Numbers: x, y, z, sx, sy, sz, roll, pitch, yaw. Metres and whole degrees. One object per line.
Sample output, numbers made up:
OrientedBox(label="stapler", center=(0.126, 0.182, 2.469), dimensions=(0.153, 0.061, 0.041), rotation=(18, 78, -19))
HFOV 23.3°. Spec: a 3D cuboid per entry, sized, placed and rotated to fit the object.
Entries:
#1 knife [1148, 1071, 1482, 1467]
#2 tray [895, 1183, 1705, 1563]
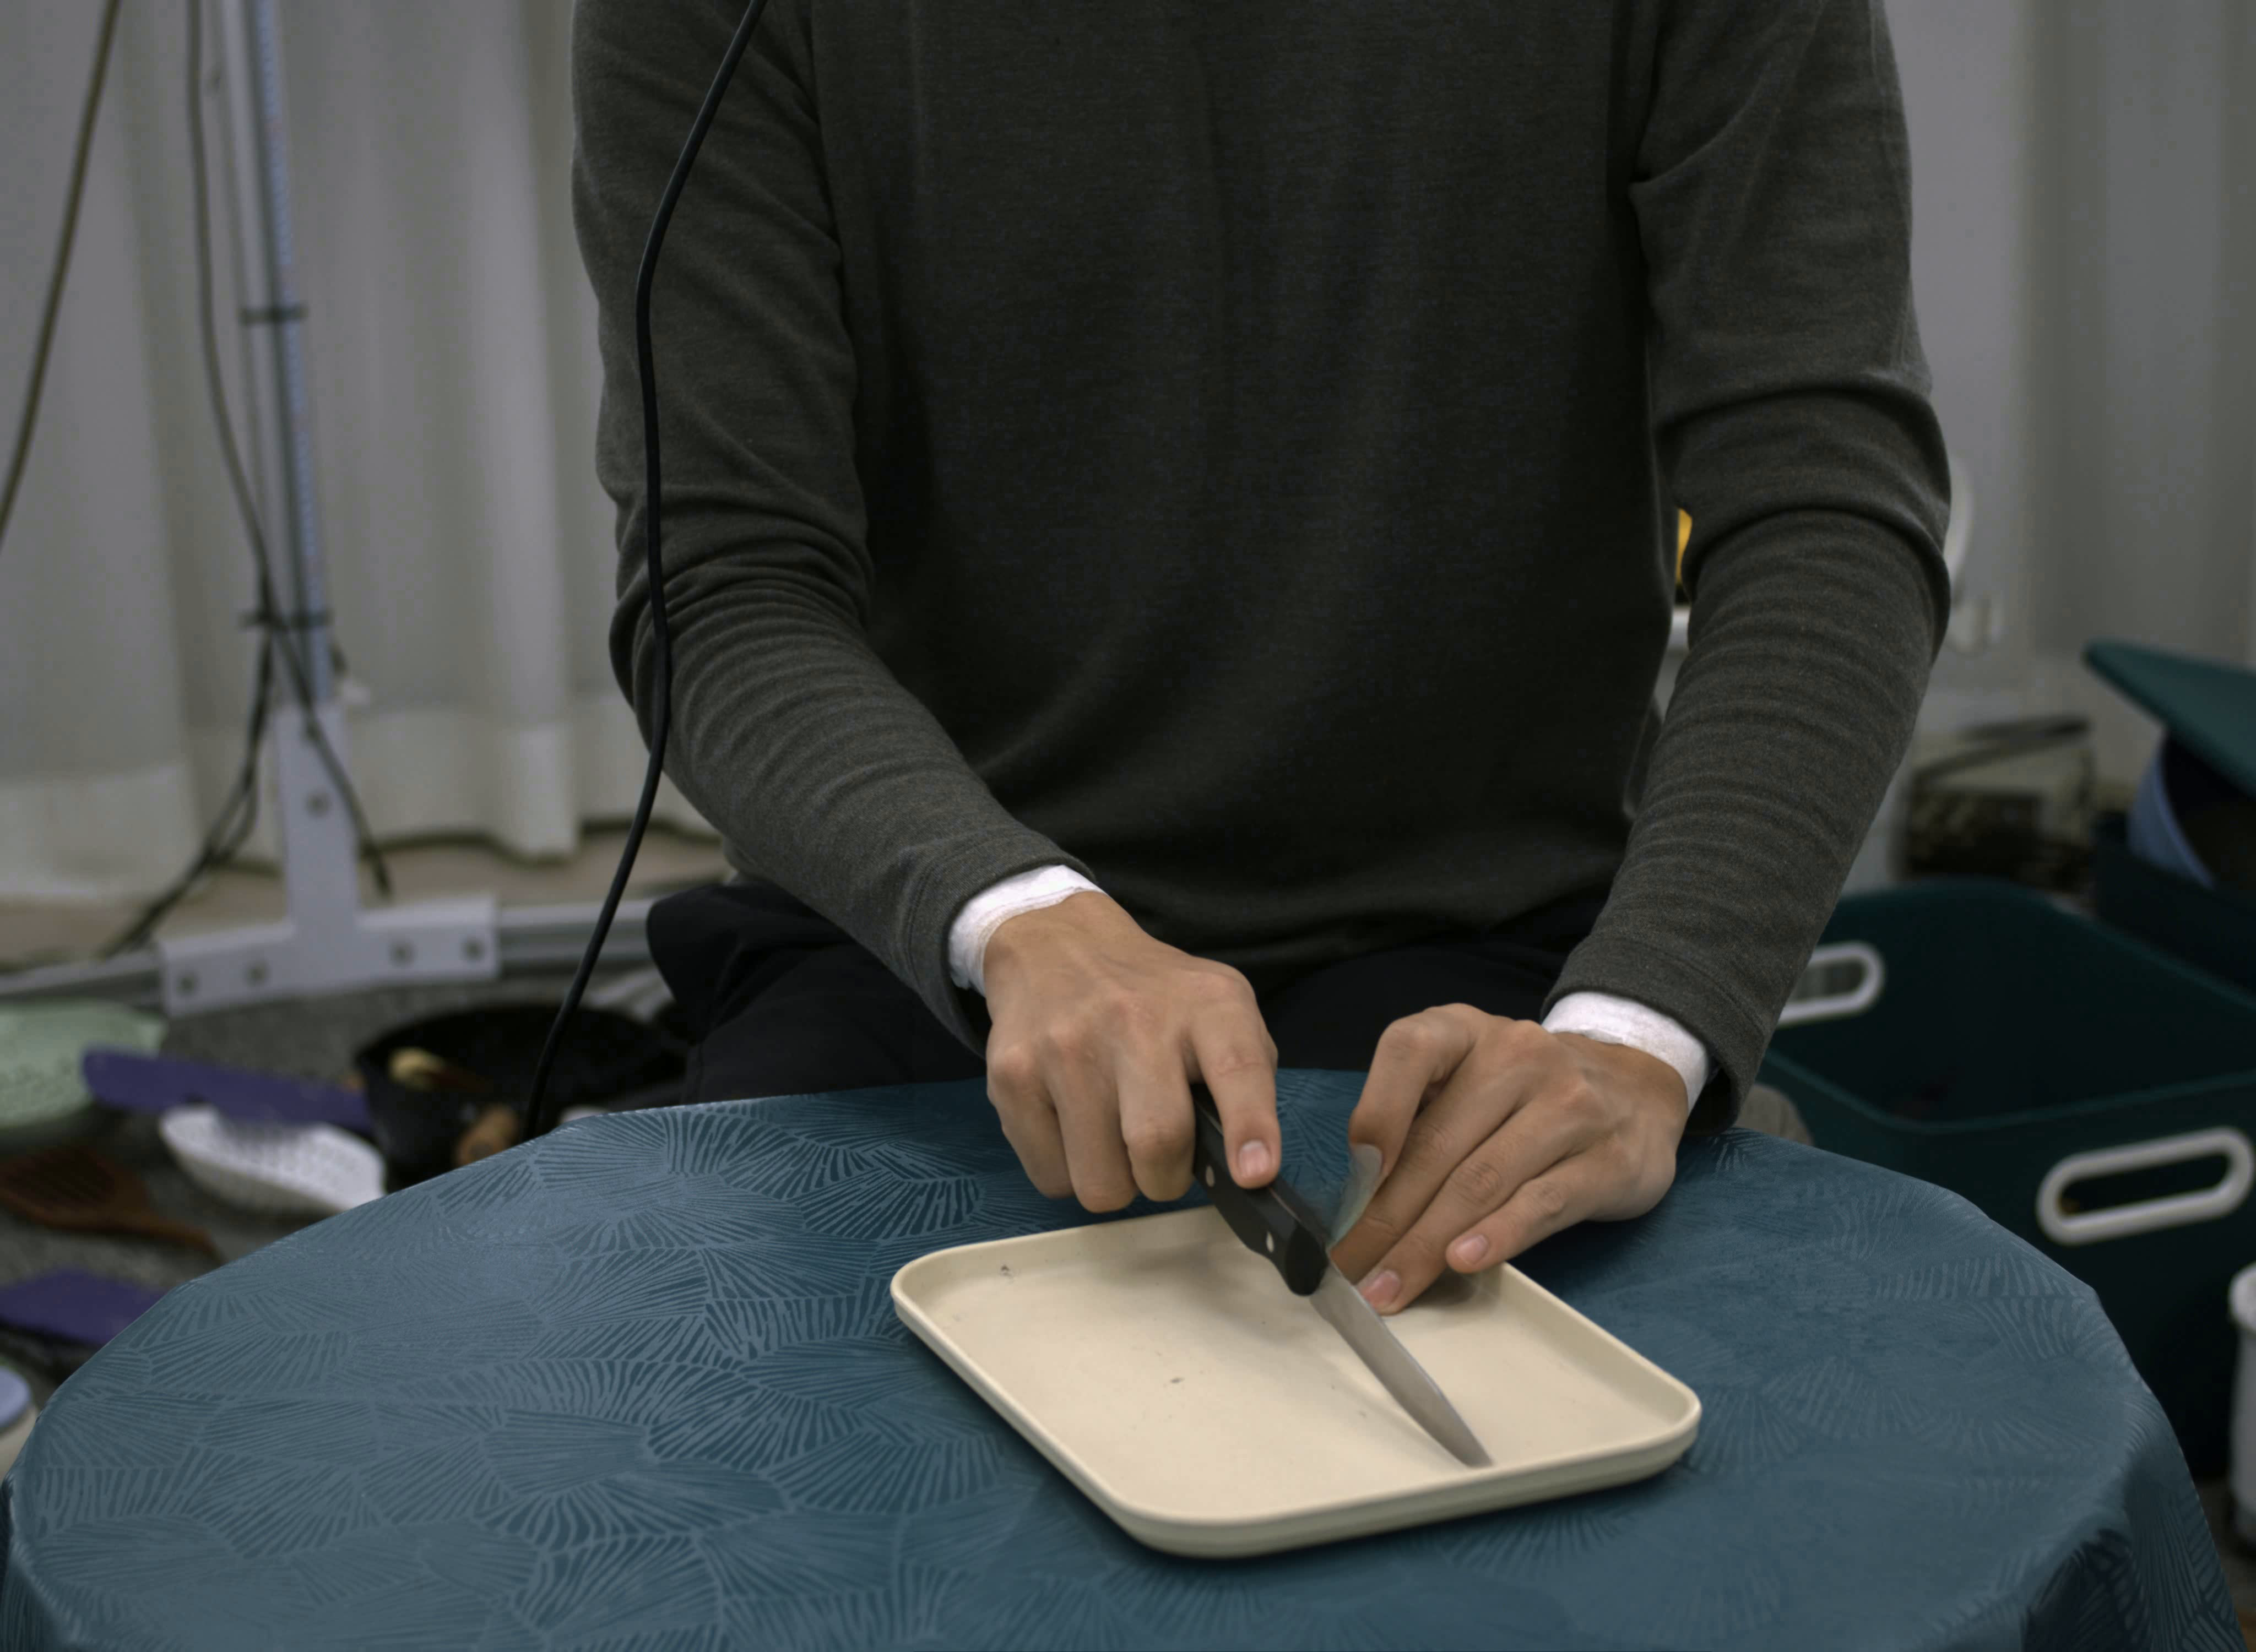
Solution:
OrientedBox(label="knife", center=(0.055, 0.127, 1.549), dimensions=(0.016, 0.024, 0.241), rotation=(-8, 27, -20))
OrientedBox(label="tray", center=(0.044, 0.152, 1.536), dimensions=(0.170, 0.017, 0.241), rotation=(-9, 16, -19))
